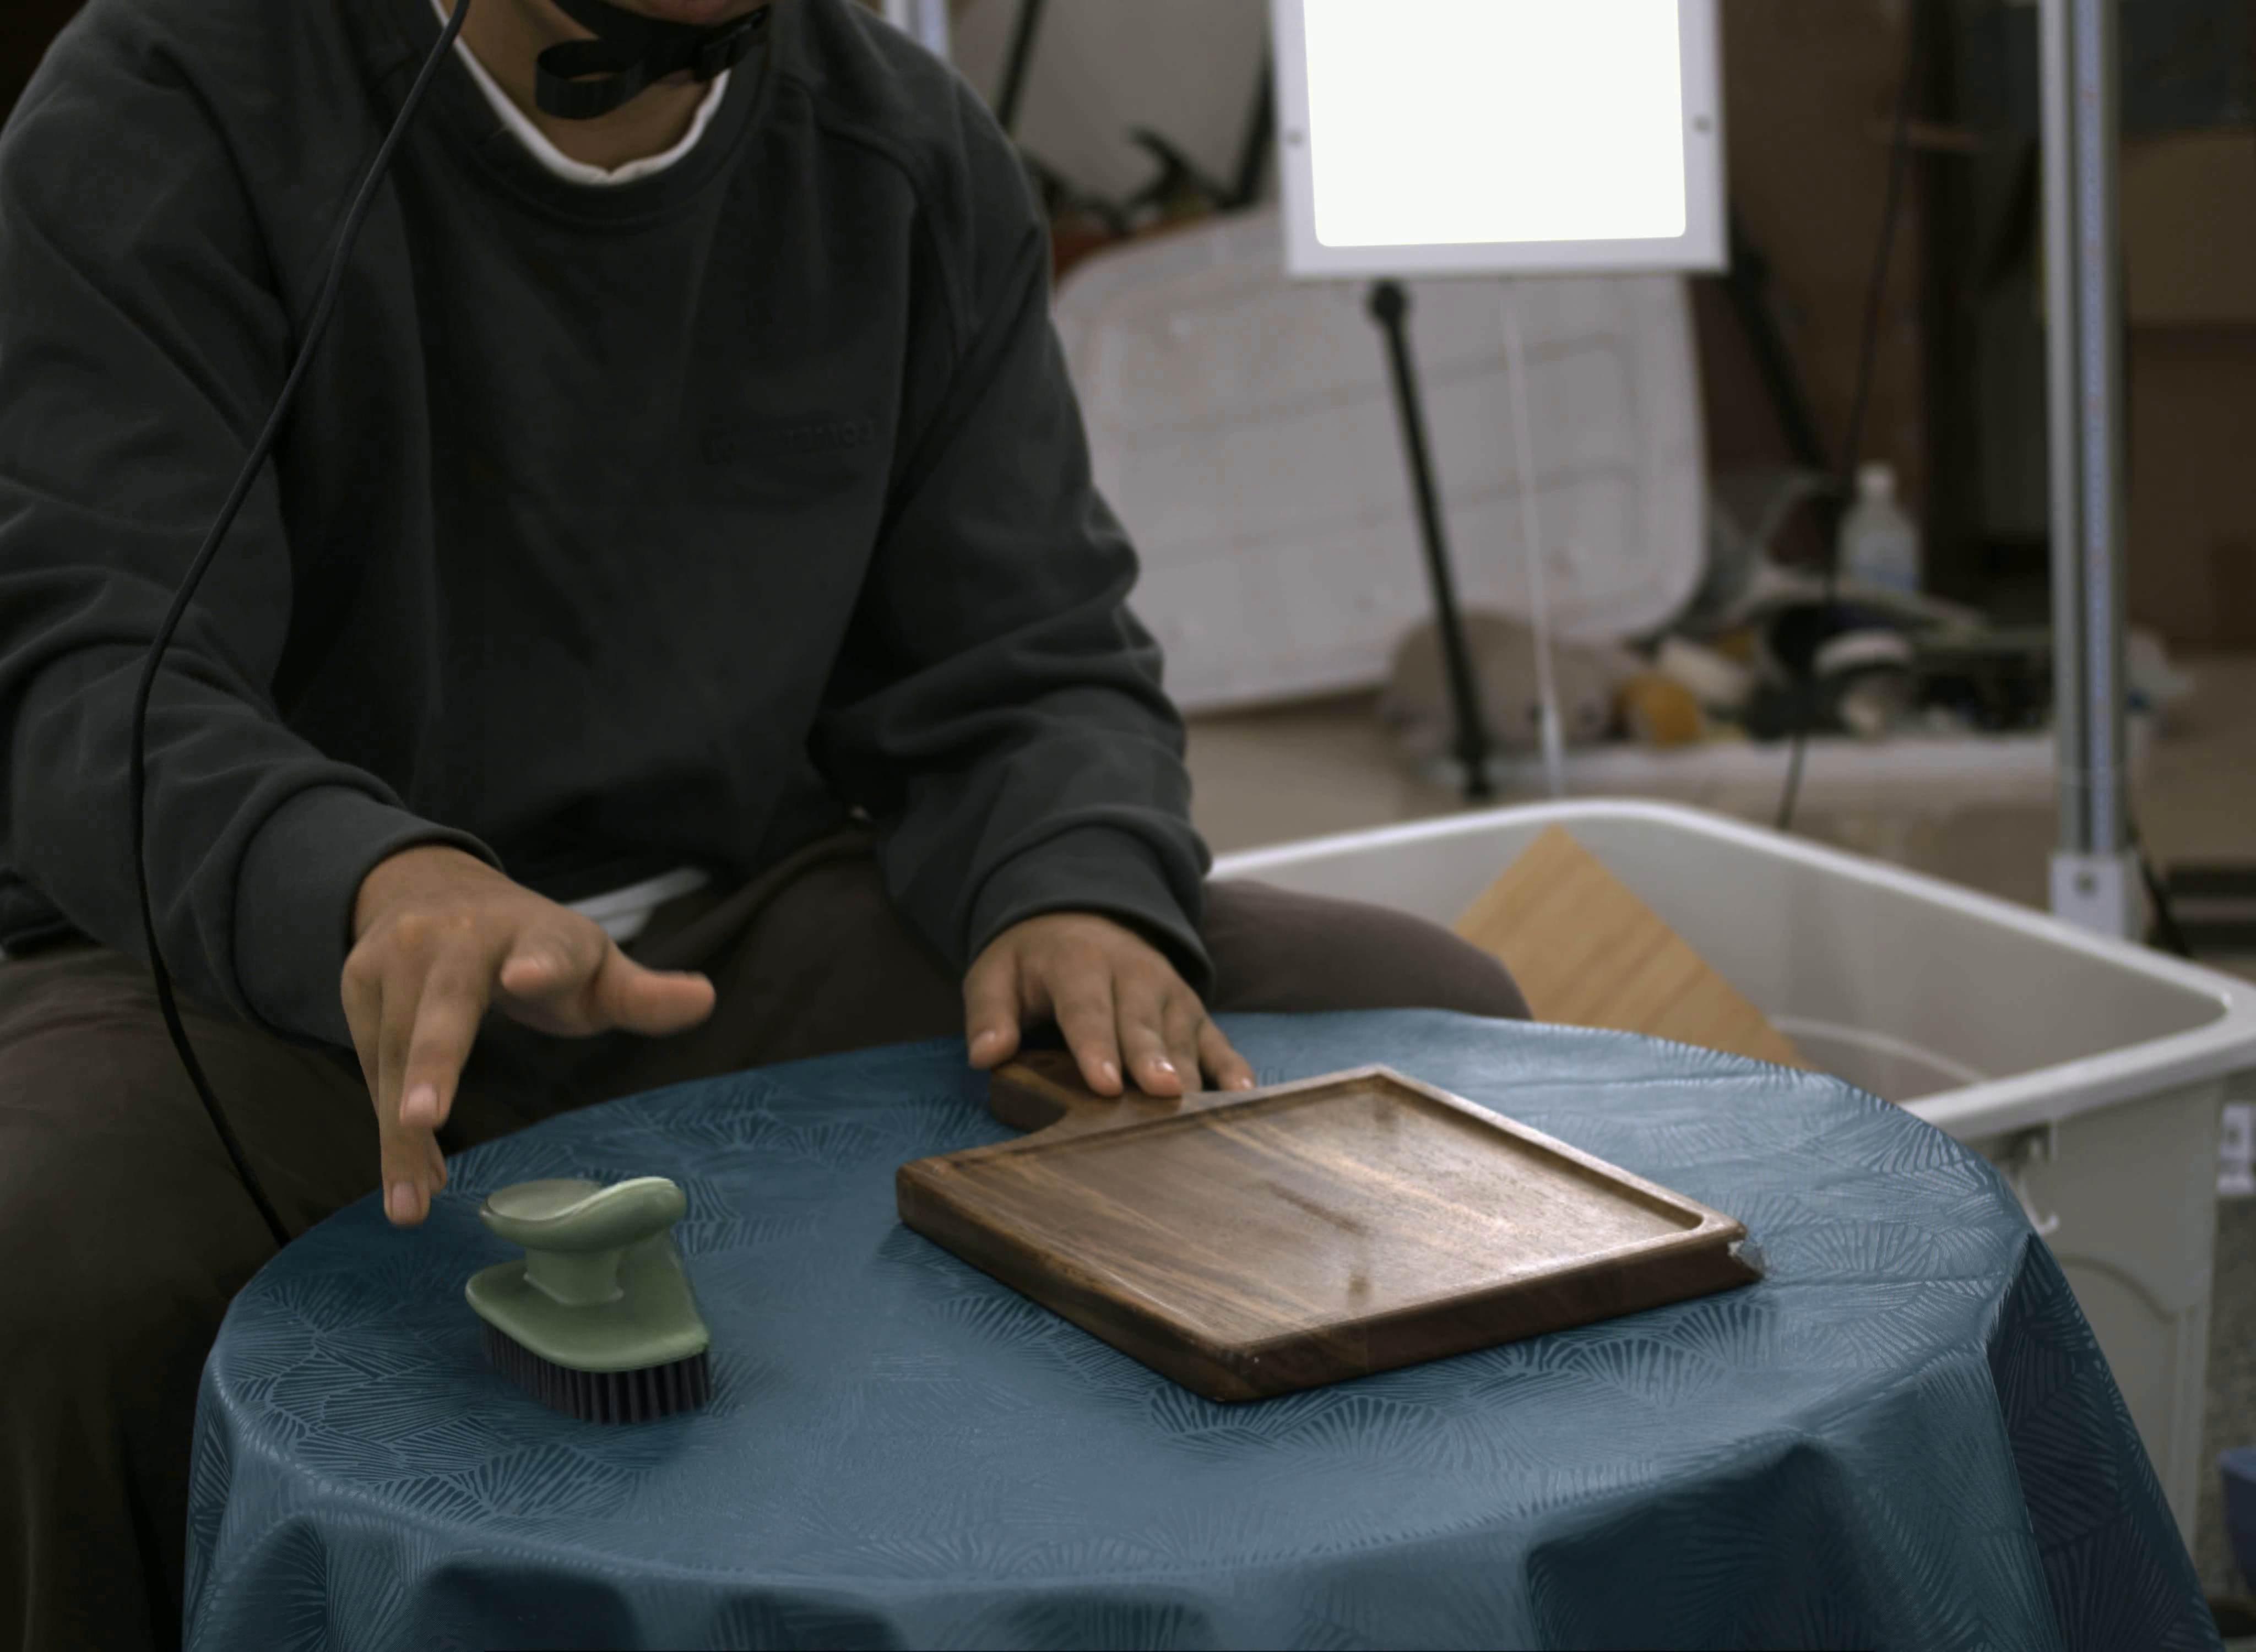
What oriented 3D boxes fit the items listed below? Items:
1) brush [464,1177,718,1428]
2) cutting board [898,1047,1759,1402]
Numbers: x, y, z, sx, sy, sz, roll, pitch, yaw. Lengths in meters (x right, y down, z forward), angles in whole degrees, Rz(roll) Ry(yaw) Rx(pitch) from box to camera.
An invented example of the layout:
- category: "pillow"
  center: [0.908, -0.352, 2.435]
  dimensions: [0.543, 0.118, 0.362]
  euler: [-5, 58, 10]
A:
- category: "brush"
  center: [-0.171, 0.150, 1.753]
  dimensions: [0.058, 0.076, 0.125]
  euler: [-11, 1, -26]
- category: "cutting board"
  center: [0.040, 0.121, 1.862]
  dimensions: [0.197, 0.023, 0.358]
  euler: [-11, 14, -24]
